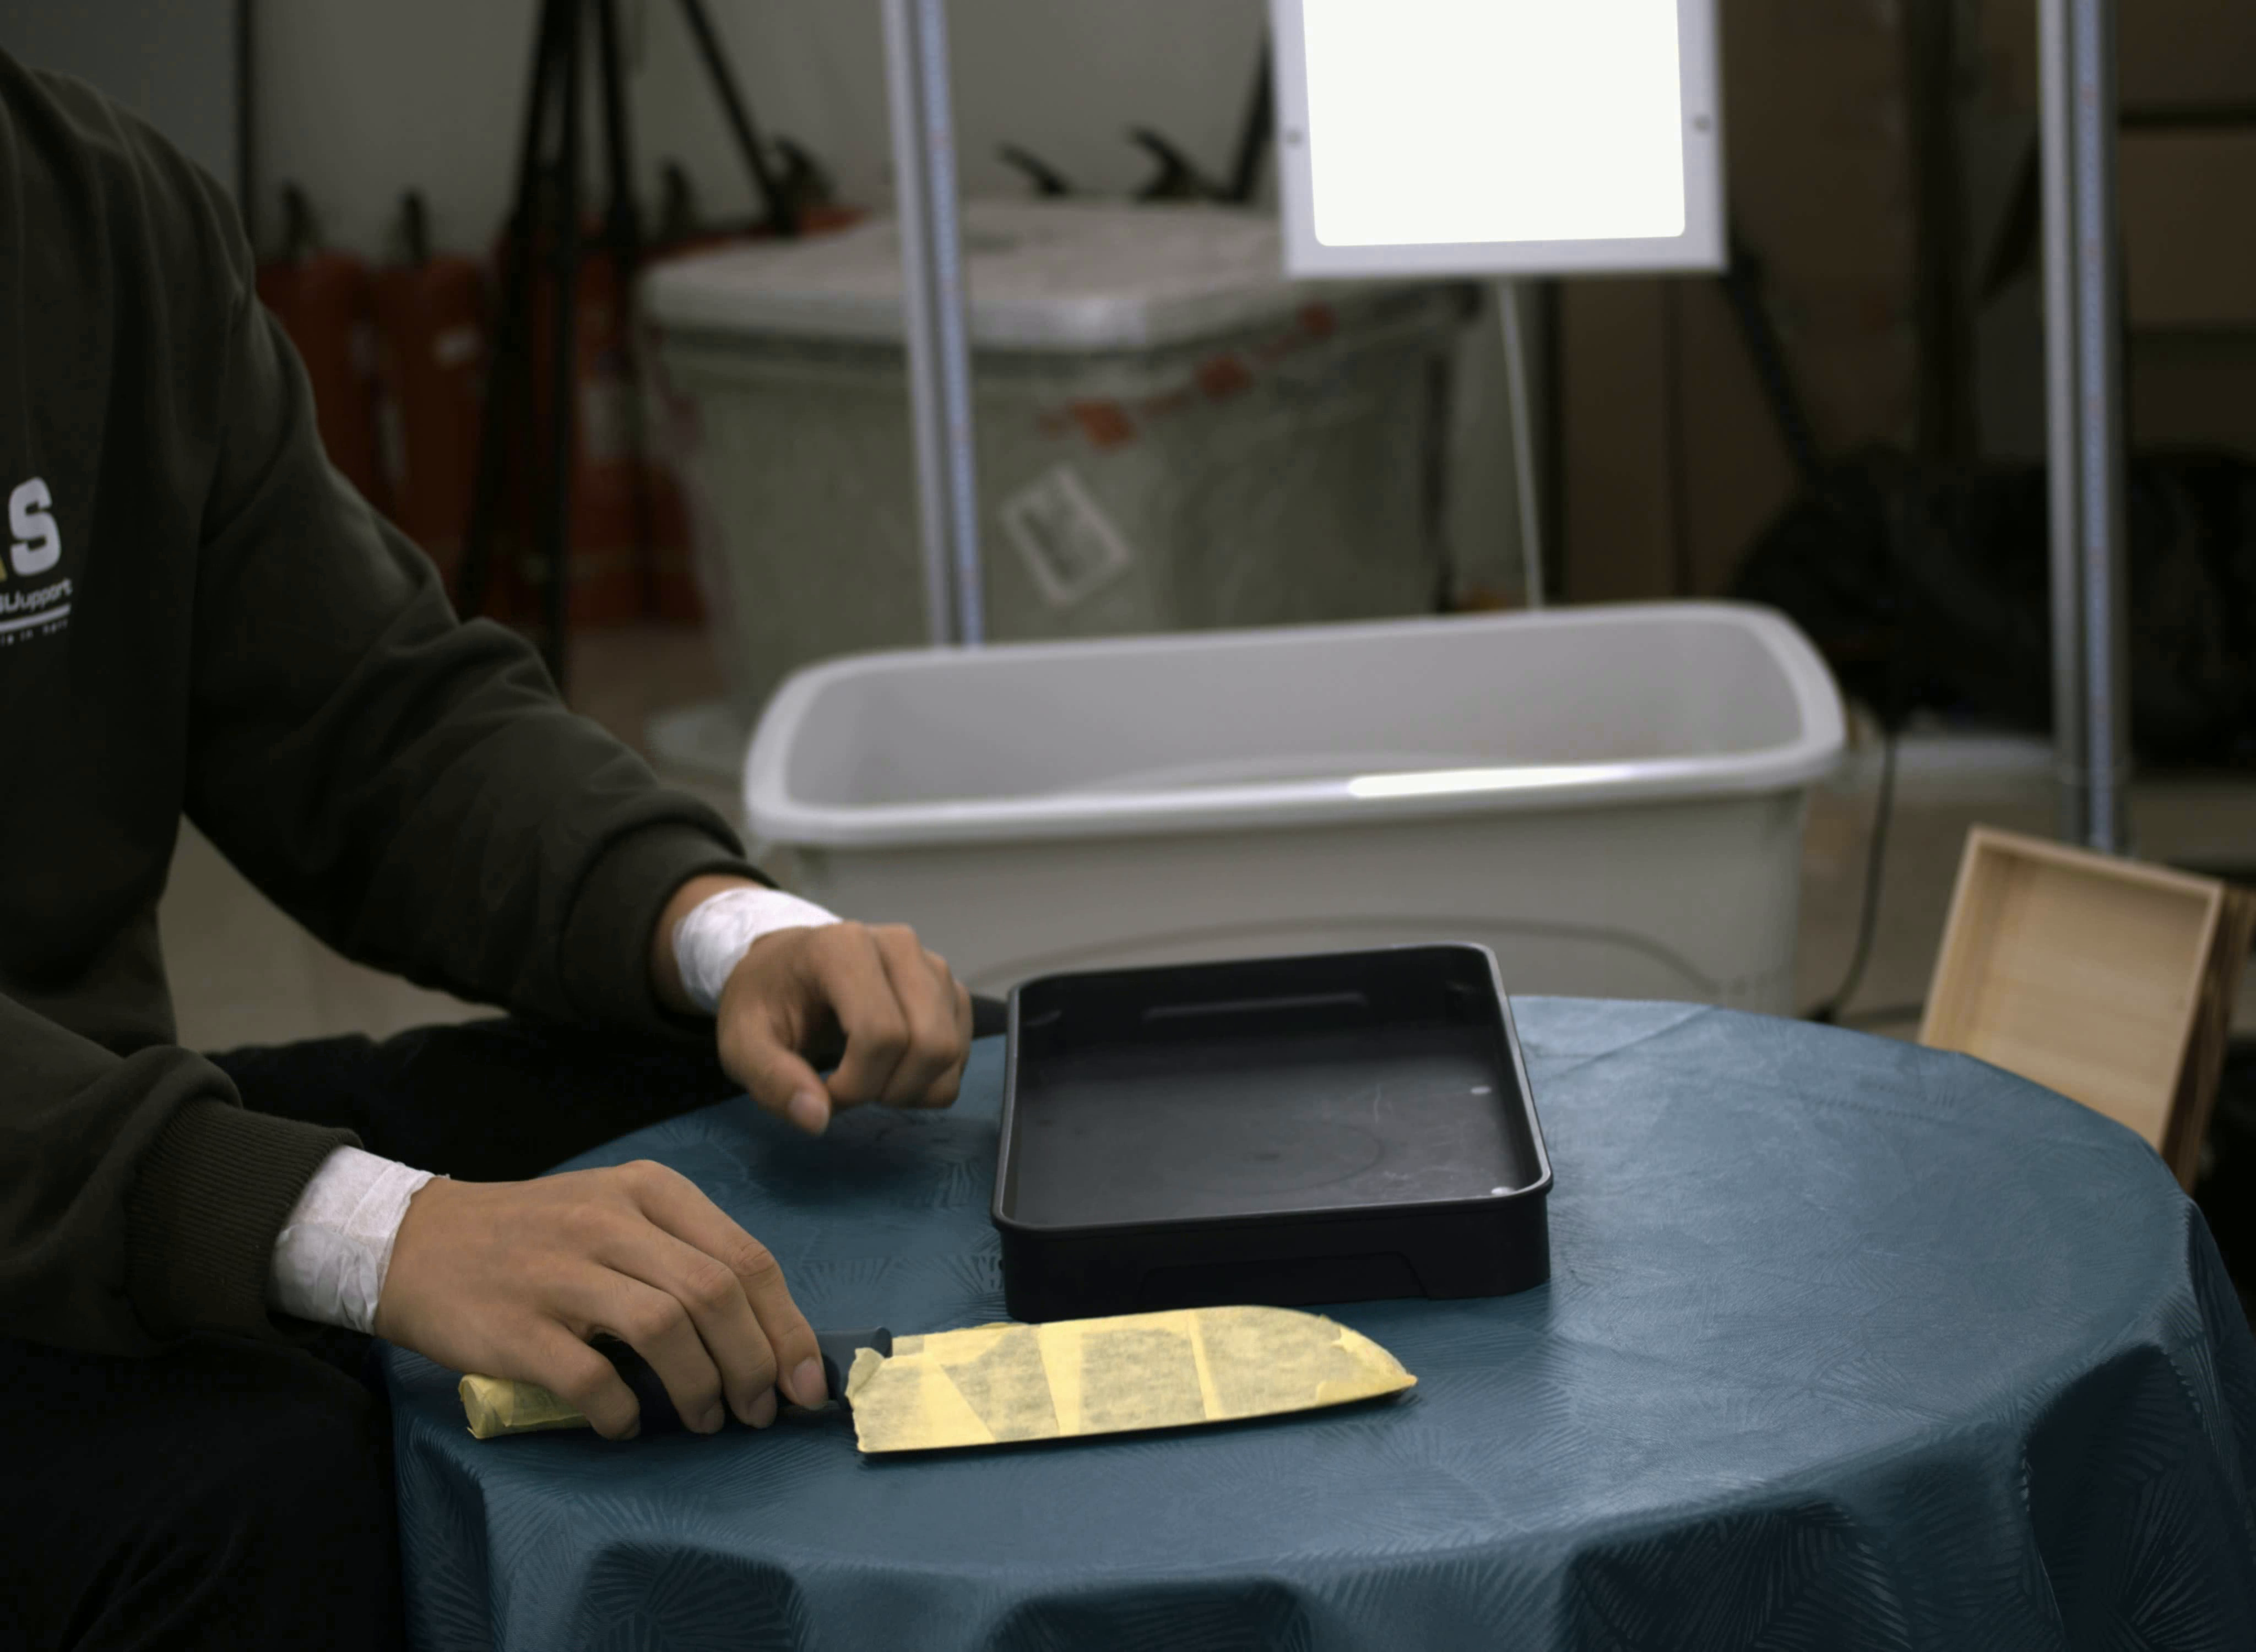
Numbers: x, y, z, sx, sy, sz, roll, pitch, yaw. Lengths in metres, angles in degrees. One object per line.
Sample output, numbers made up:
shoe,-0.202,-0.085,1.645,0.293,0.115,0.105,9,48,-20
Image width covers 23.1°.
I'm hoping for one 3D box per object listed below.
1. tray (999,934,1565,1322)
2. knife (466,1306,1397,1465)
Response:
tray,0.048,0.101,1.916,0.184,0.037,0.317,-6,14,1
knife,-0.060,0.175,1.693,0.289,0.027,0.081,-6,20,3
